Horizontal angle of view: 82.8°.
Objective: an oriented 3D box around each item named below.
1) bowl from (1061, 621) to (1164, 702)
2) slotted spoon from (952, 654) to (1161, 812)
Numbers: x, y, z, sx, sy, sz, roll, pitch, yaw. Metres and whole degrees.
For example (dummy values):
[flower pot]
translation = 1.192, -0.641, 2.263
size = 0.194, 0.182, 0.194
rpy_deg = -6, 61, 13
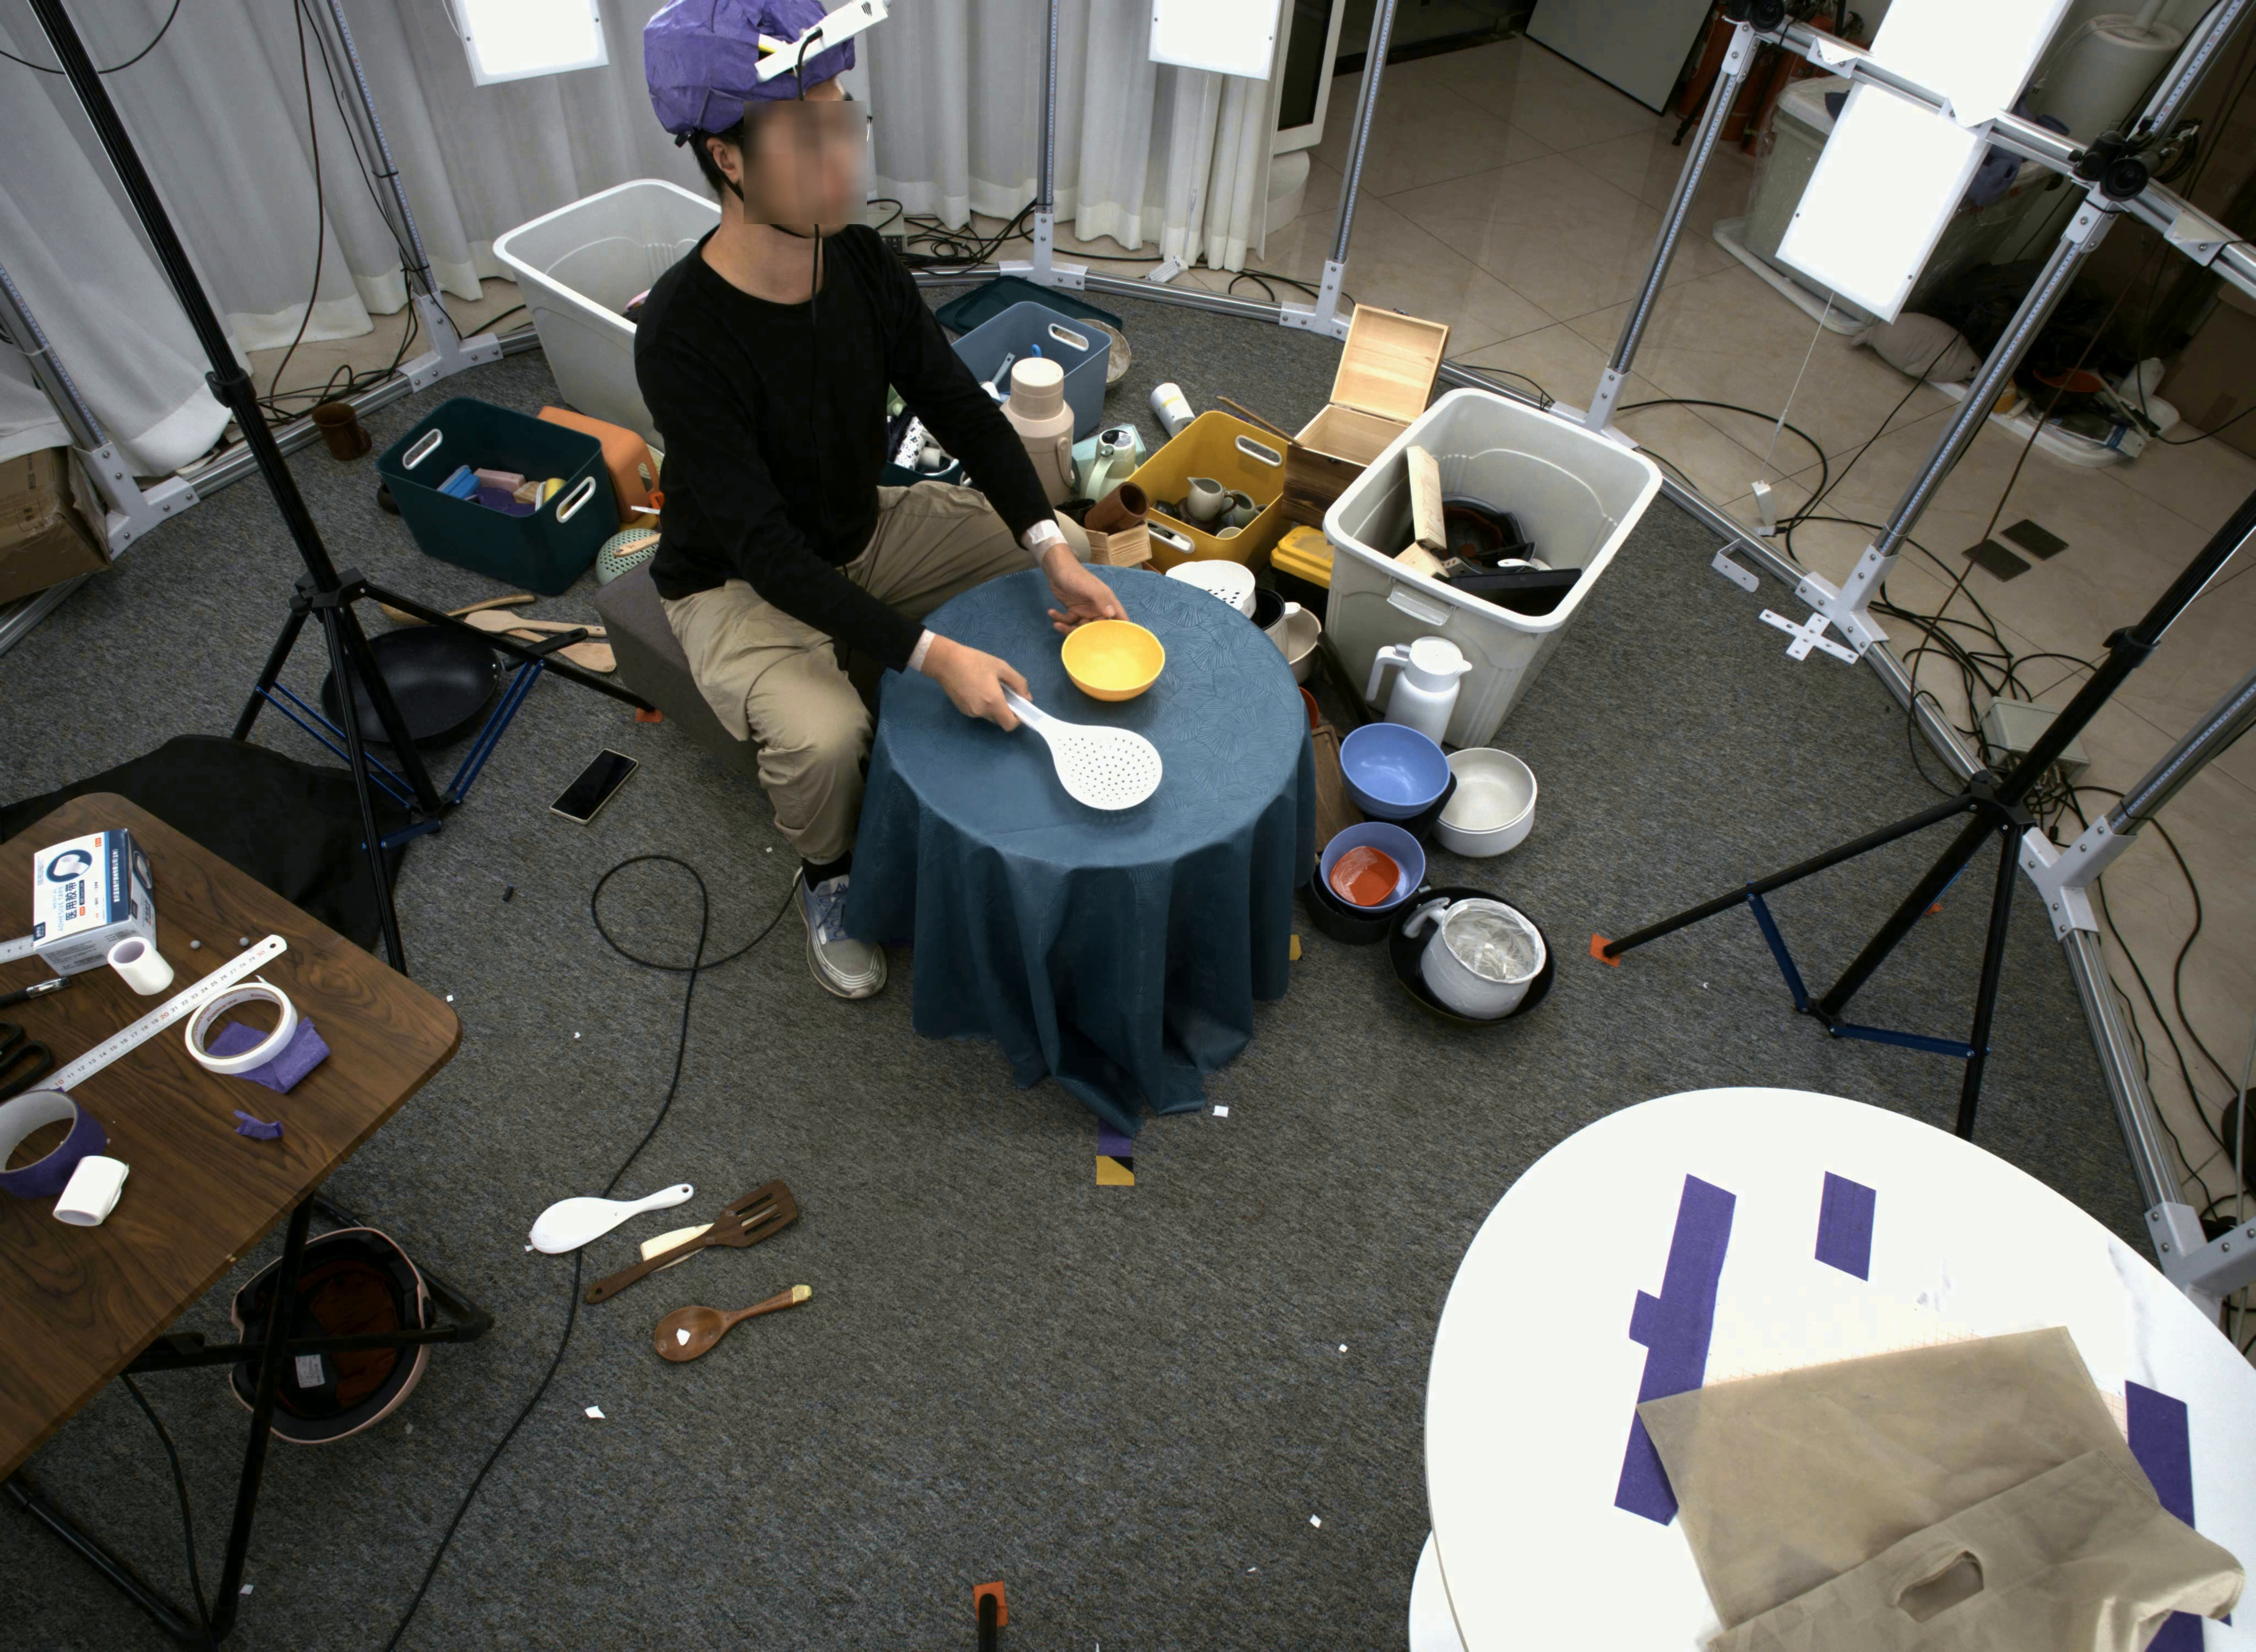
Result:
[bowl]
translation = -0.024, -0.222, 1.825
size = 0.145, 0.058, 0.149
rpy_deg = 3, 48, -4
[slotted spoon]
translation = -0.106, -0.132, 1.727
size = 0.353, 0.045, 0.137
rpy_deg = 39, 62, 17
